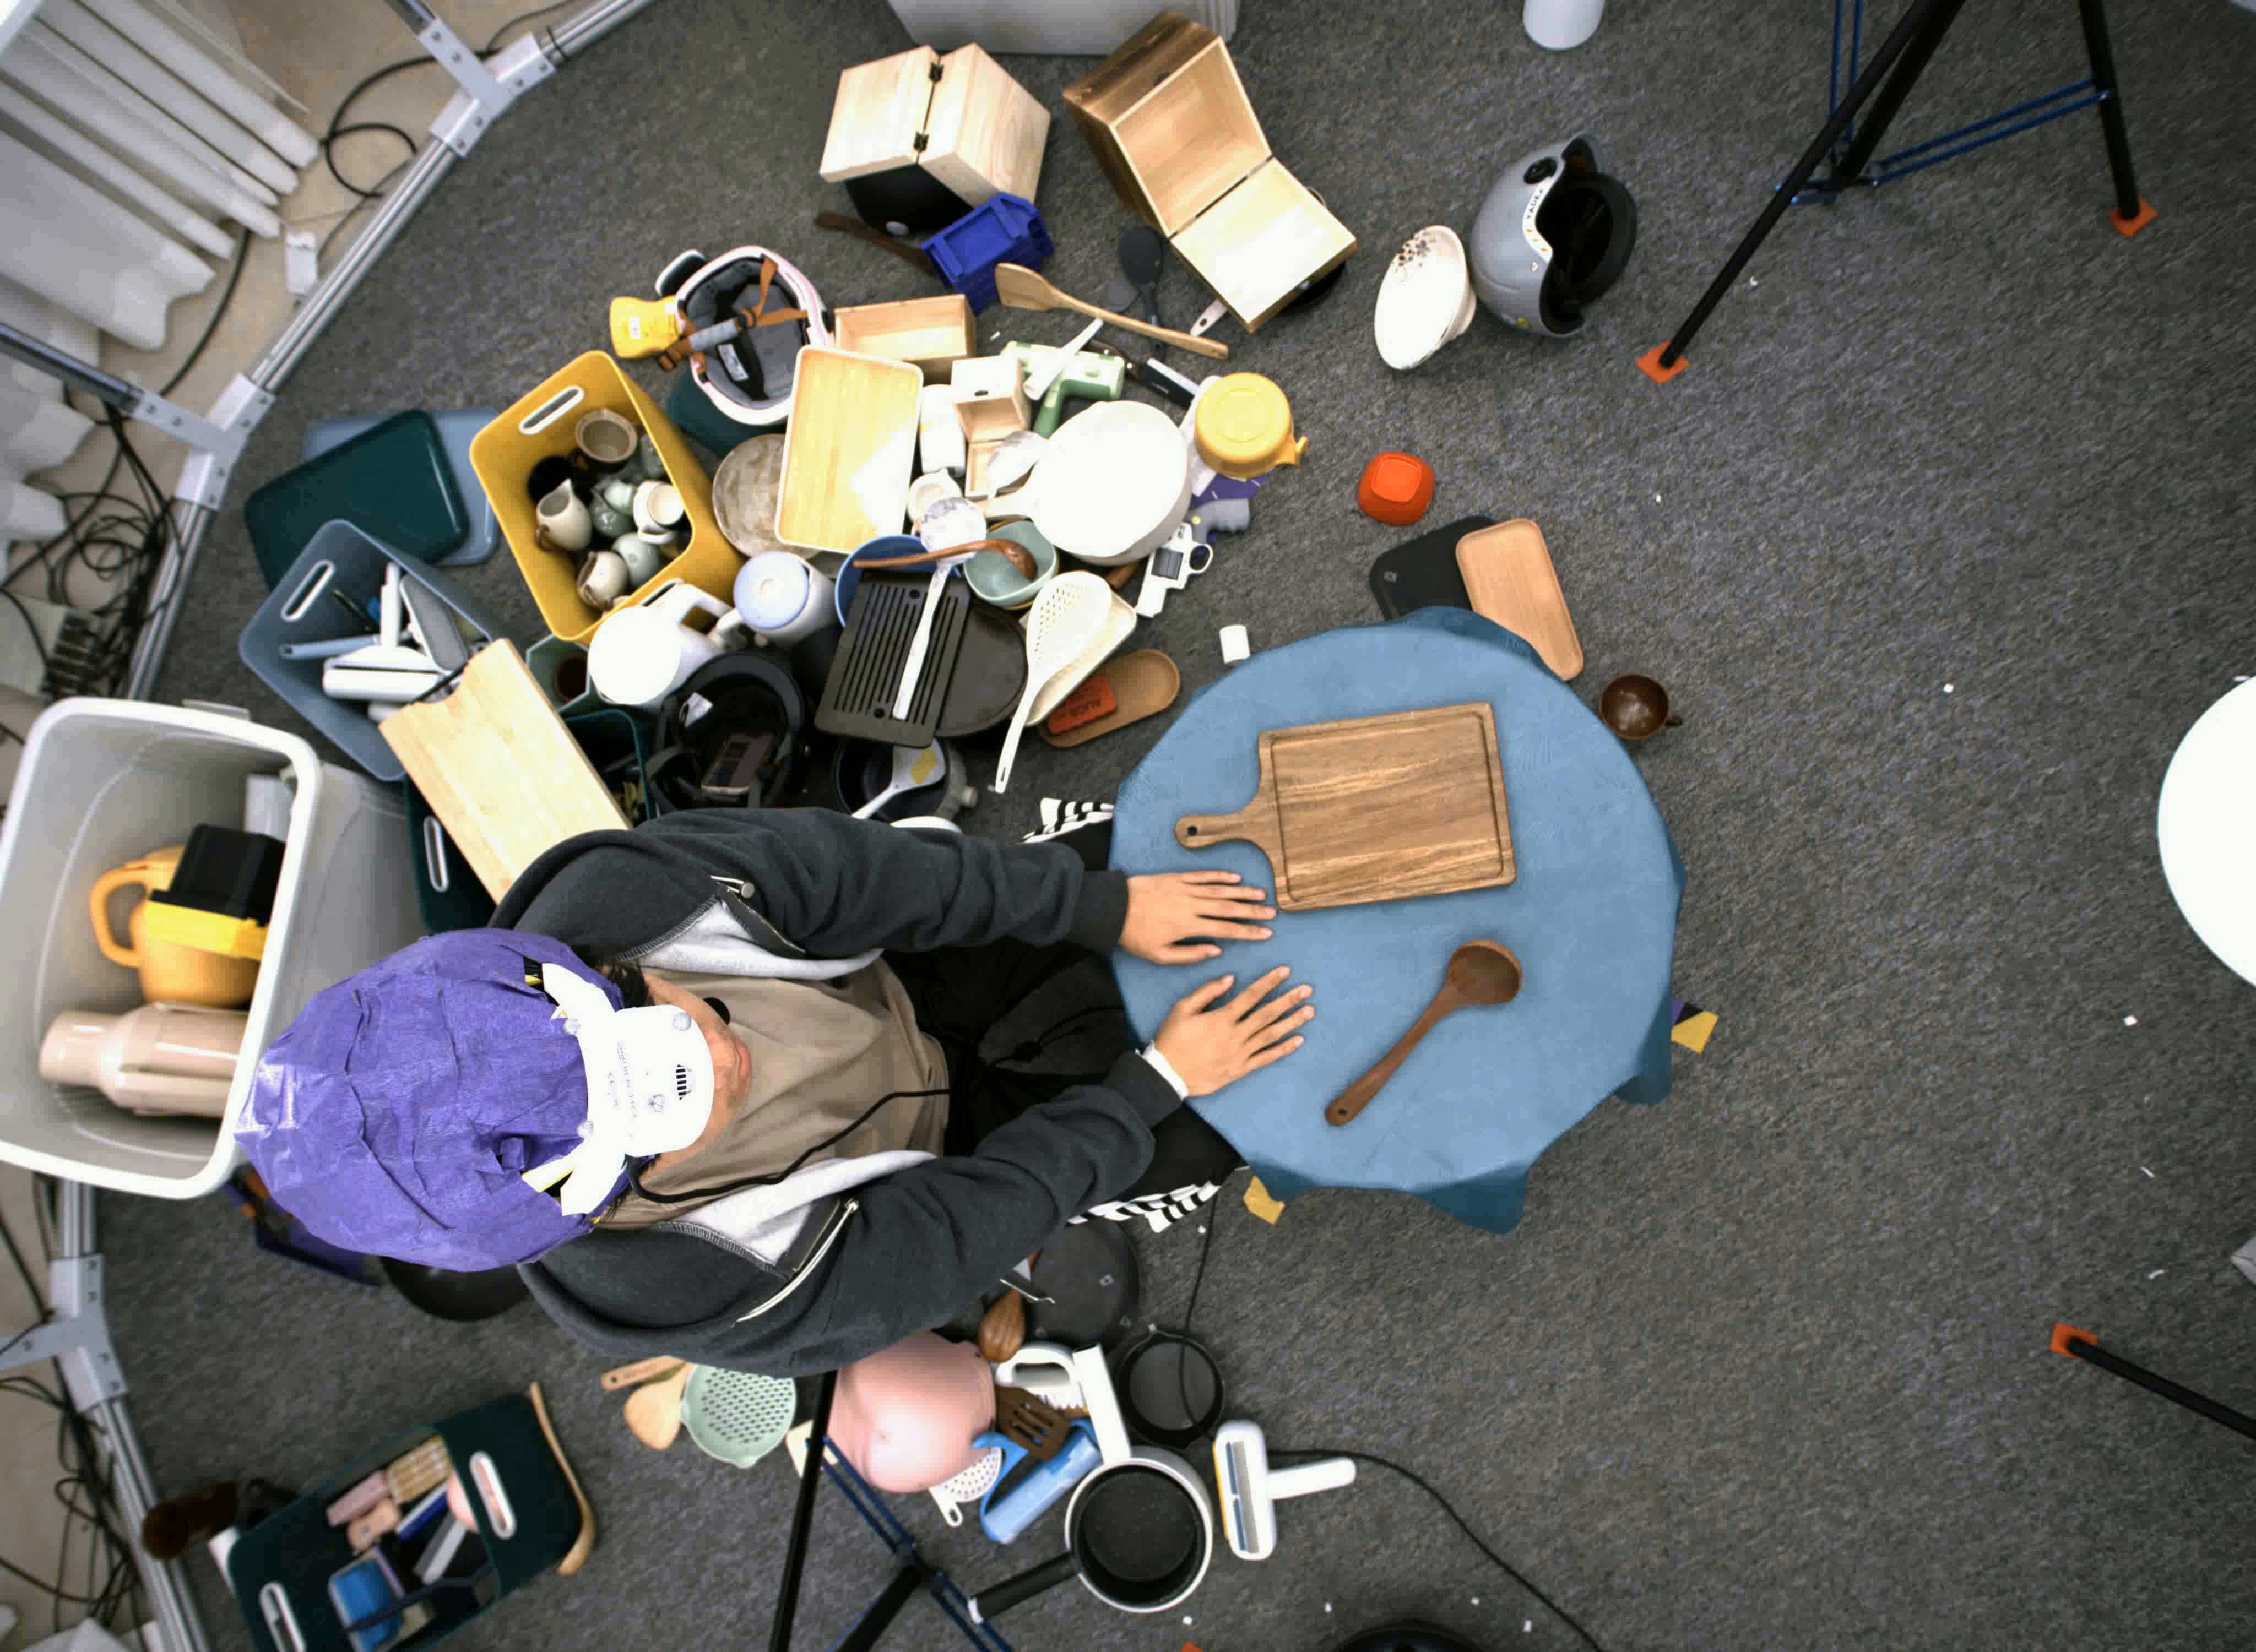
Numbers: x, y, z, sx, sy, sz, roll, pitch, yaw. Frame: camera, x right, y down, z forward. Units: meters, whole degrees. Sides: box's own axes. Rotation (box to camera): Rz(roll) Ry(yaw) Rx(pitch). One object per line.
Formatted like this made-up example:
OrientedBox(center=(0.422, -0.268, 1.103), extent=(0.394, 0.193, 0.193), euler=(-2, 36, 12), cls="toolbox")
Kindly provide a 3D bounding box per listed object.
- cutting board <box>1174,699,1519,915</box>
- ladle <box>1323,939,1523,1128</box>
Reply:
OrientedBox(center=(0.222, -0.015, 1.461), extent=(0.354, 0.023, 0.200), euler=(-8, 84, 10), cls="cutting board")
OrientedBox(center=(0.297, 0.217, 1.414), extent=(0.076, 0.065, 0.261), euler=(45, 95, 2), cls="ladle")
